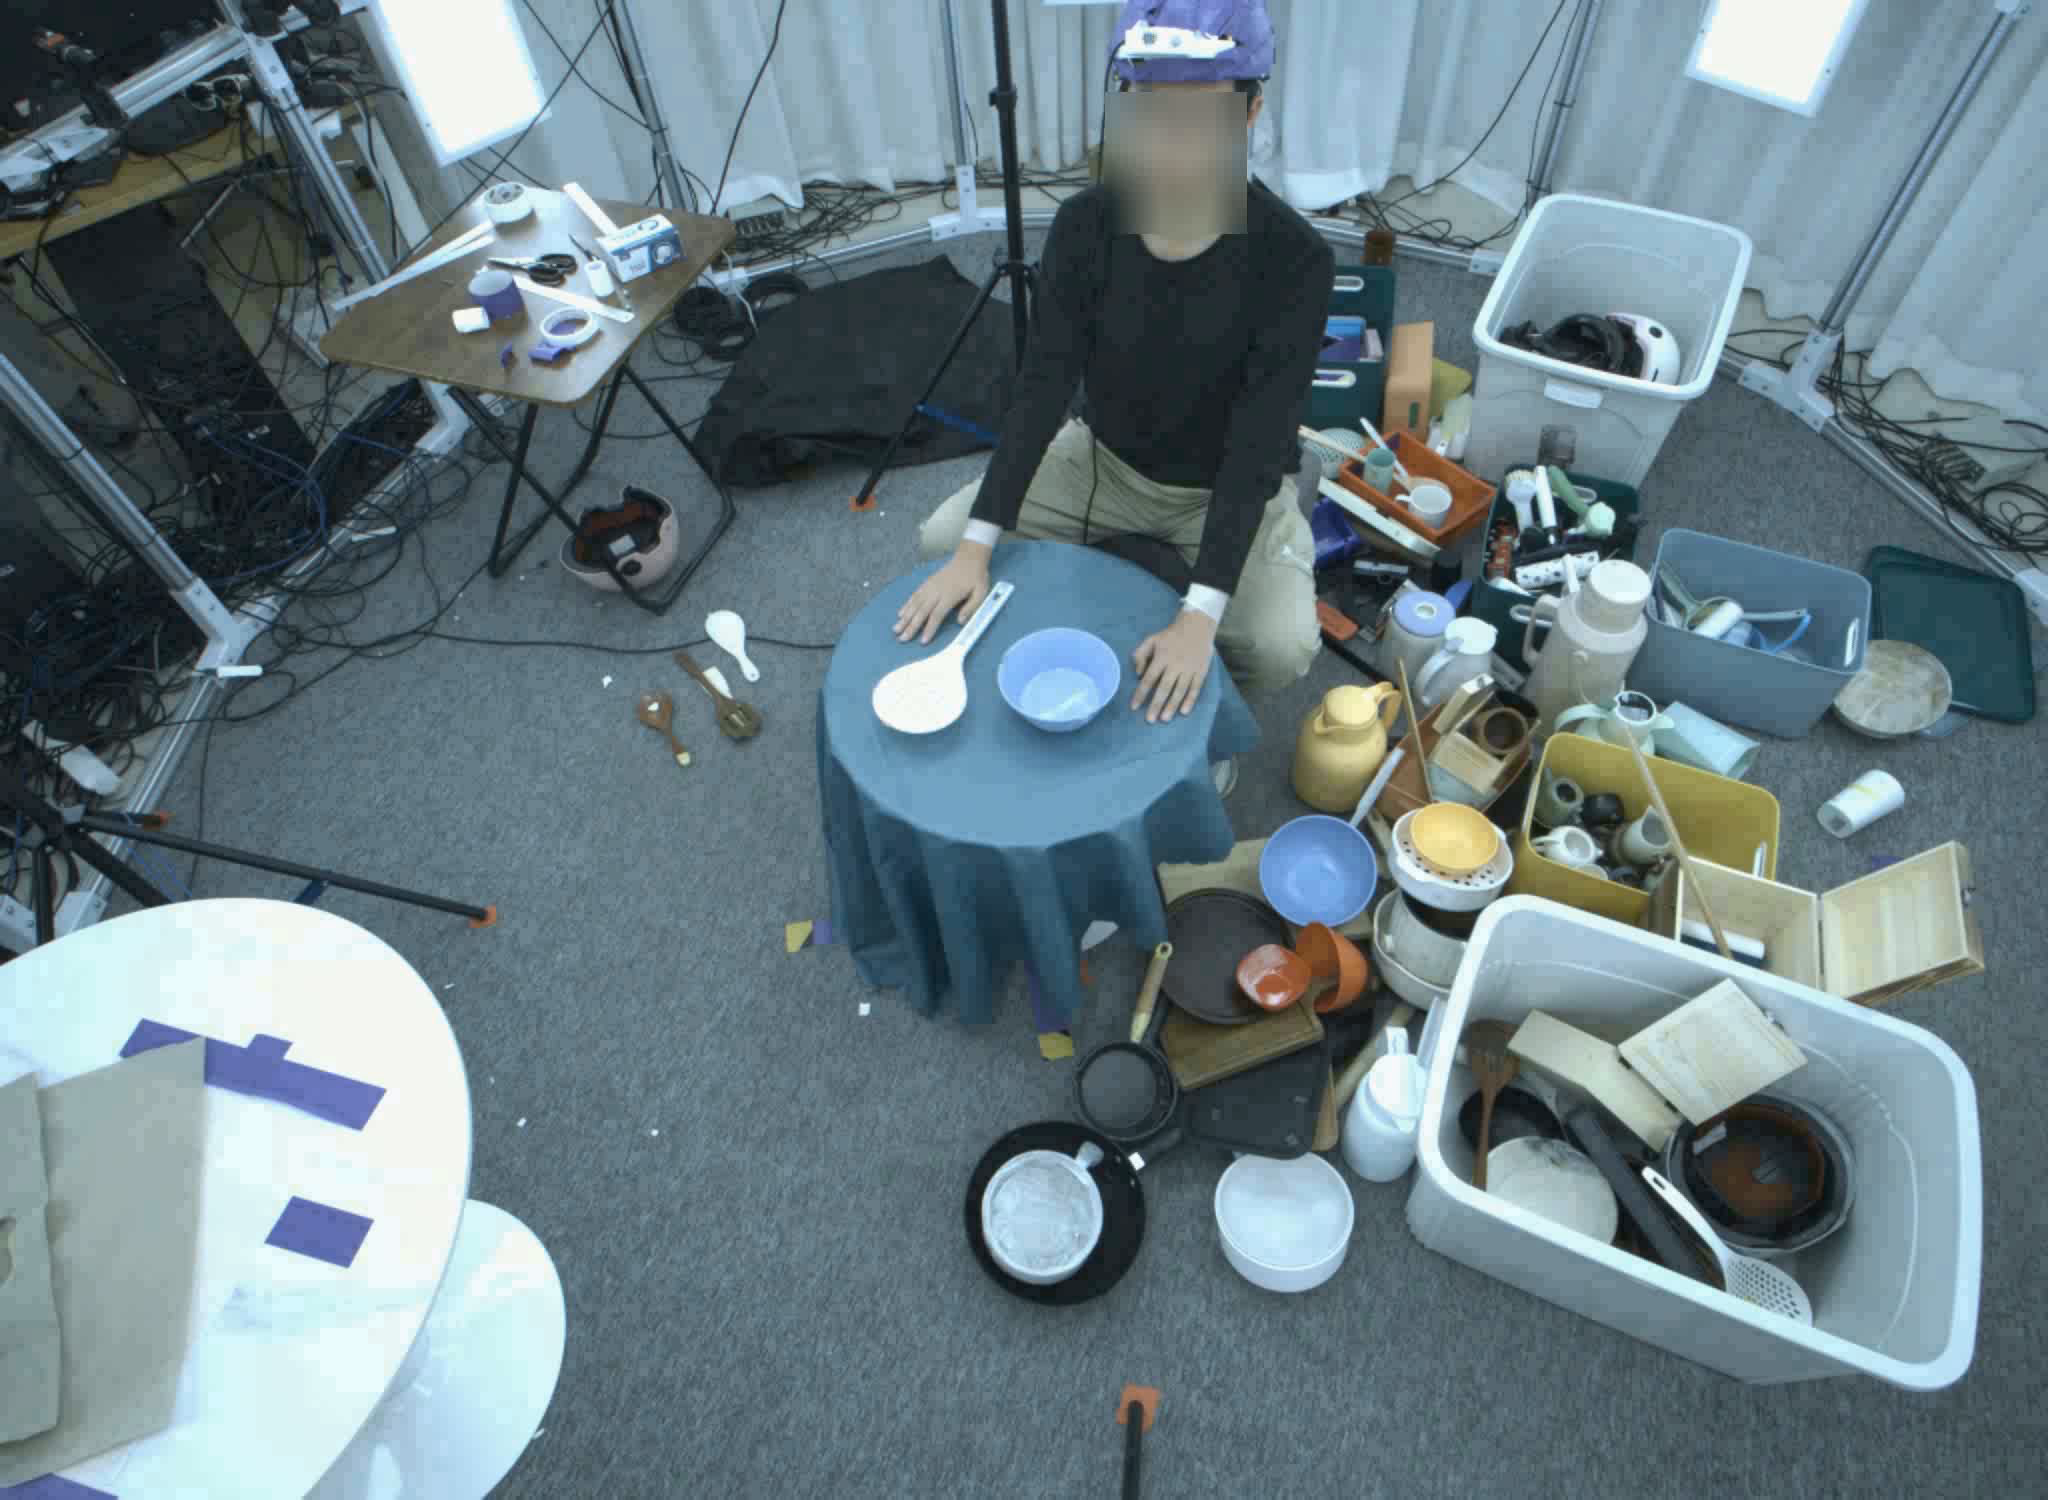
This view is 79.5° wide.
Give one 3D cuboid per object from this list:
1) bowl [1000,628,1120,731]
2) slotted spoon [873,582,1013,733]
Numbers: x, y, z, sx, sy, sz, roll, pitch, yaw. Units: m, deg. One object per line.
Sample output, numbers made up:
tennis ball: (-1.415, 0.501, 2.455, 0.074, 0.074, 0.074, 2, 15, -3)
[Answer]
bowl: (0.053, -0.093, 1.809, 0.176, 0.071, 0.174, 0, 54, 2)
slotted spoon: (-0.106, -0.146, 1.866, 0.134, 0.046, 0.350, 20, 57, 16)
